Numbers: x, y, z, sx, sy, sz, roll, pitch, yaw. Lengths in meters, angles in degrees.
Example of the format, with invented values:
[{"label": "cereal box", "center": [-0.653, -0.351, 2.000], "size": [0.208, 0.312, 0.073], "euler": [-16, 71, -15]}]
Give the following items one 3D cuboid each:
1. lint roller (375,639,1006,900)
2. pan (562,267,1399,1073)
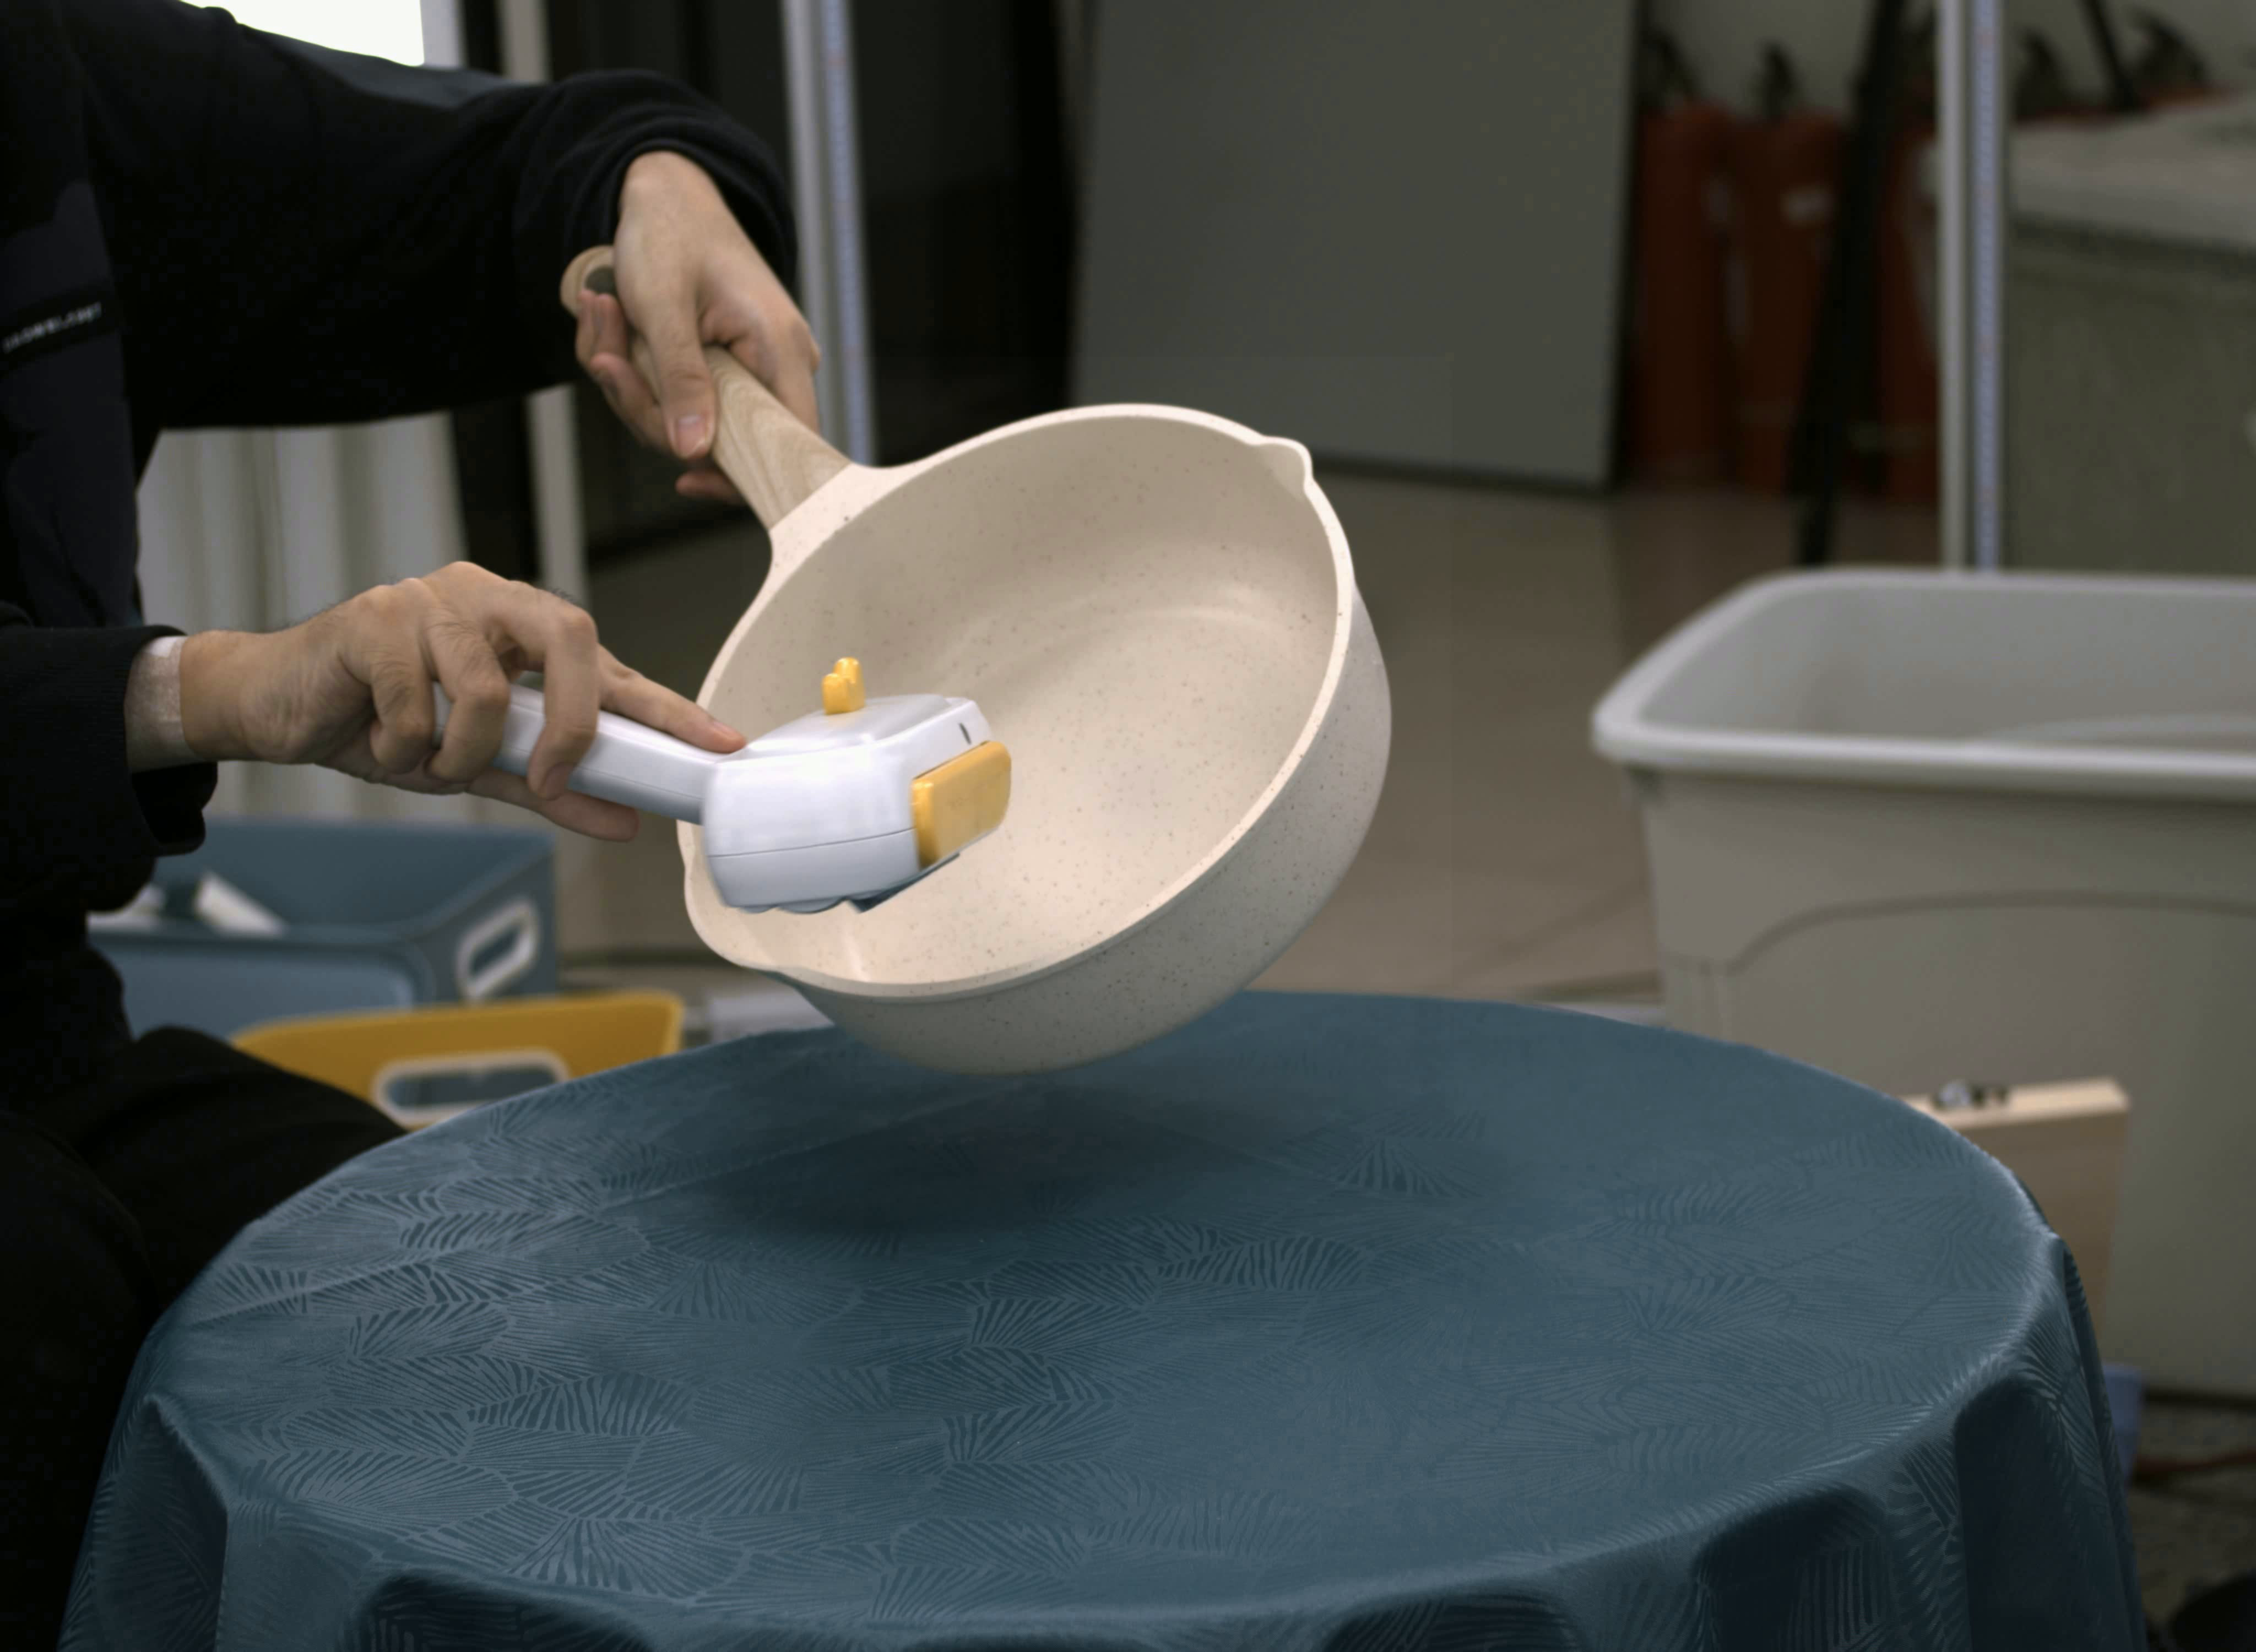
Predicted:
[{"label": "lint roller", "center": [-0.141, -0.021, 1.688], "size": [0.191, 0.075, 0.192], "euler": [2, 11, 7]}, {"label": "pan", "center": [-0.071, -0.074, 1.897], "size": [0.262, 0.101, 0.440], "euler": [-43, 43, -4]}]
